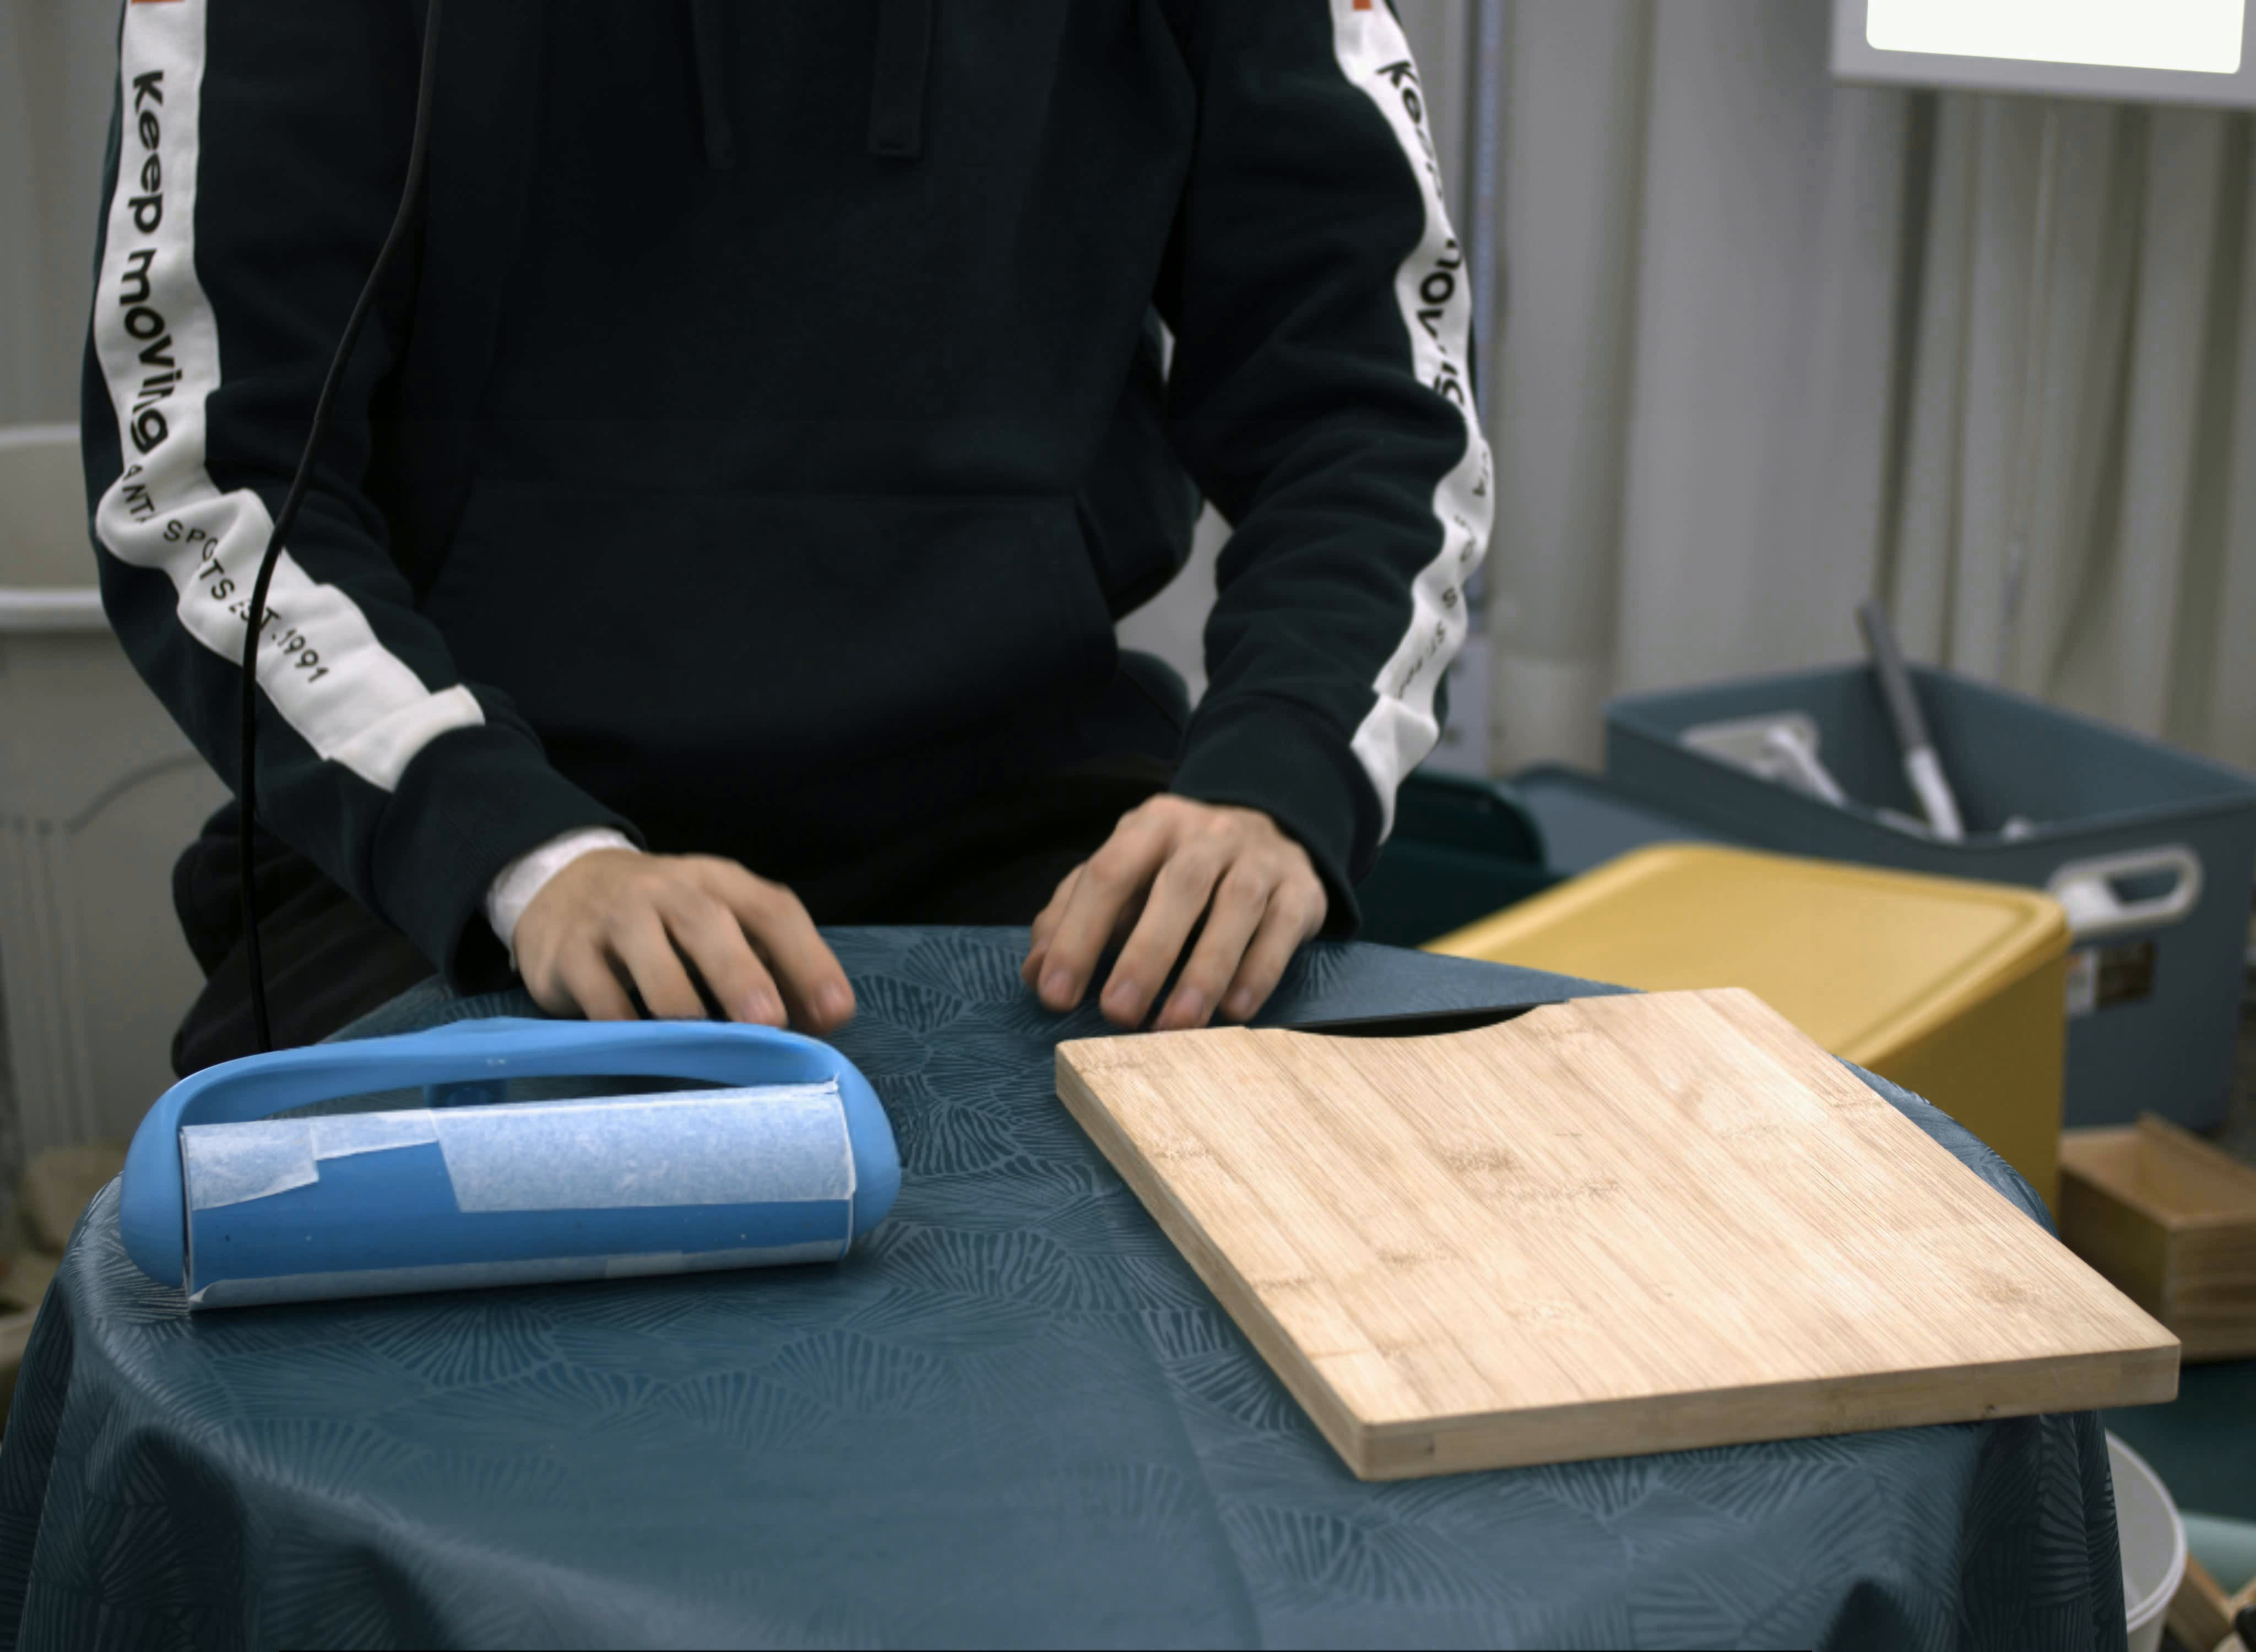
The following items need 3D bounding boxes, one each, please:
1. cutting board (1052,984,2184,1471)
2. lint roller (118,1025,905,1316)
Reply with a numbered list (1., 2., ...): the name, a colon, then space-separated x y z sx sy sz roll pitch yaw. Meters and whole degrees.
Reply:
1. cutting board: 0.134 0.114 1.587 0.251 0.024 0.345 -4 16 -16
2. lint roller: -0.194 0.091 1.584 0.229 0.068 0.178 -5 17 -16
